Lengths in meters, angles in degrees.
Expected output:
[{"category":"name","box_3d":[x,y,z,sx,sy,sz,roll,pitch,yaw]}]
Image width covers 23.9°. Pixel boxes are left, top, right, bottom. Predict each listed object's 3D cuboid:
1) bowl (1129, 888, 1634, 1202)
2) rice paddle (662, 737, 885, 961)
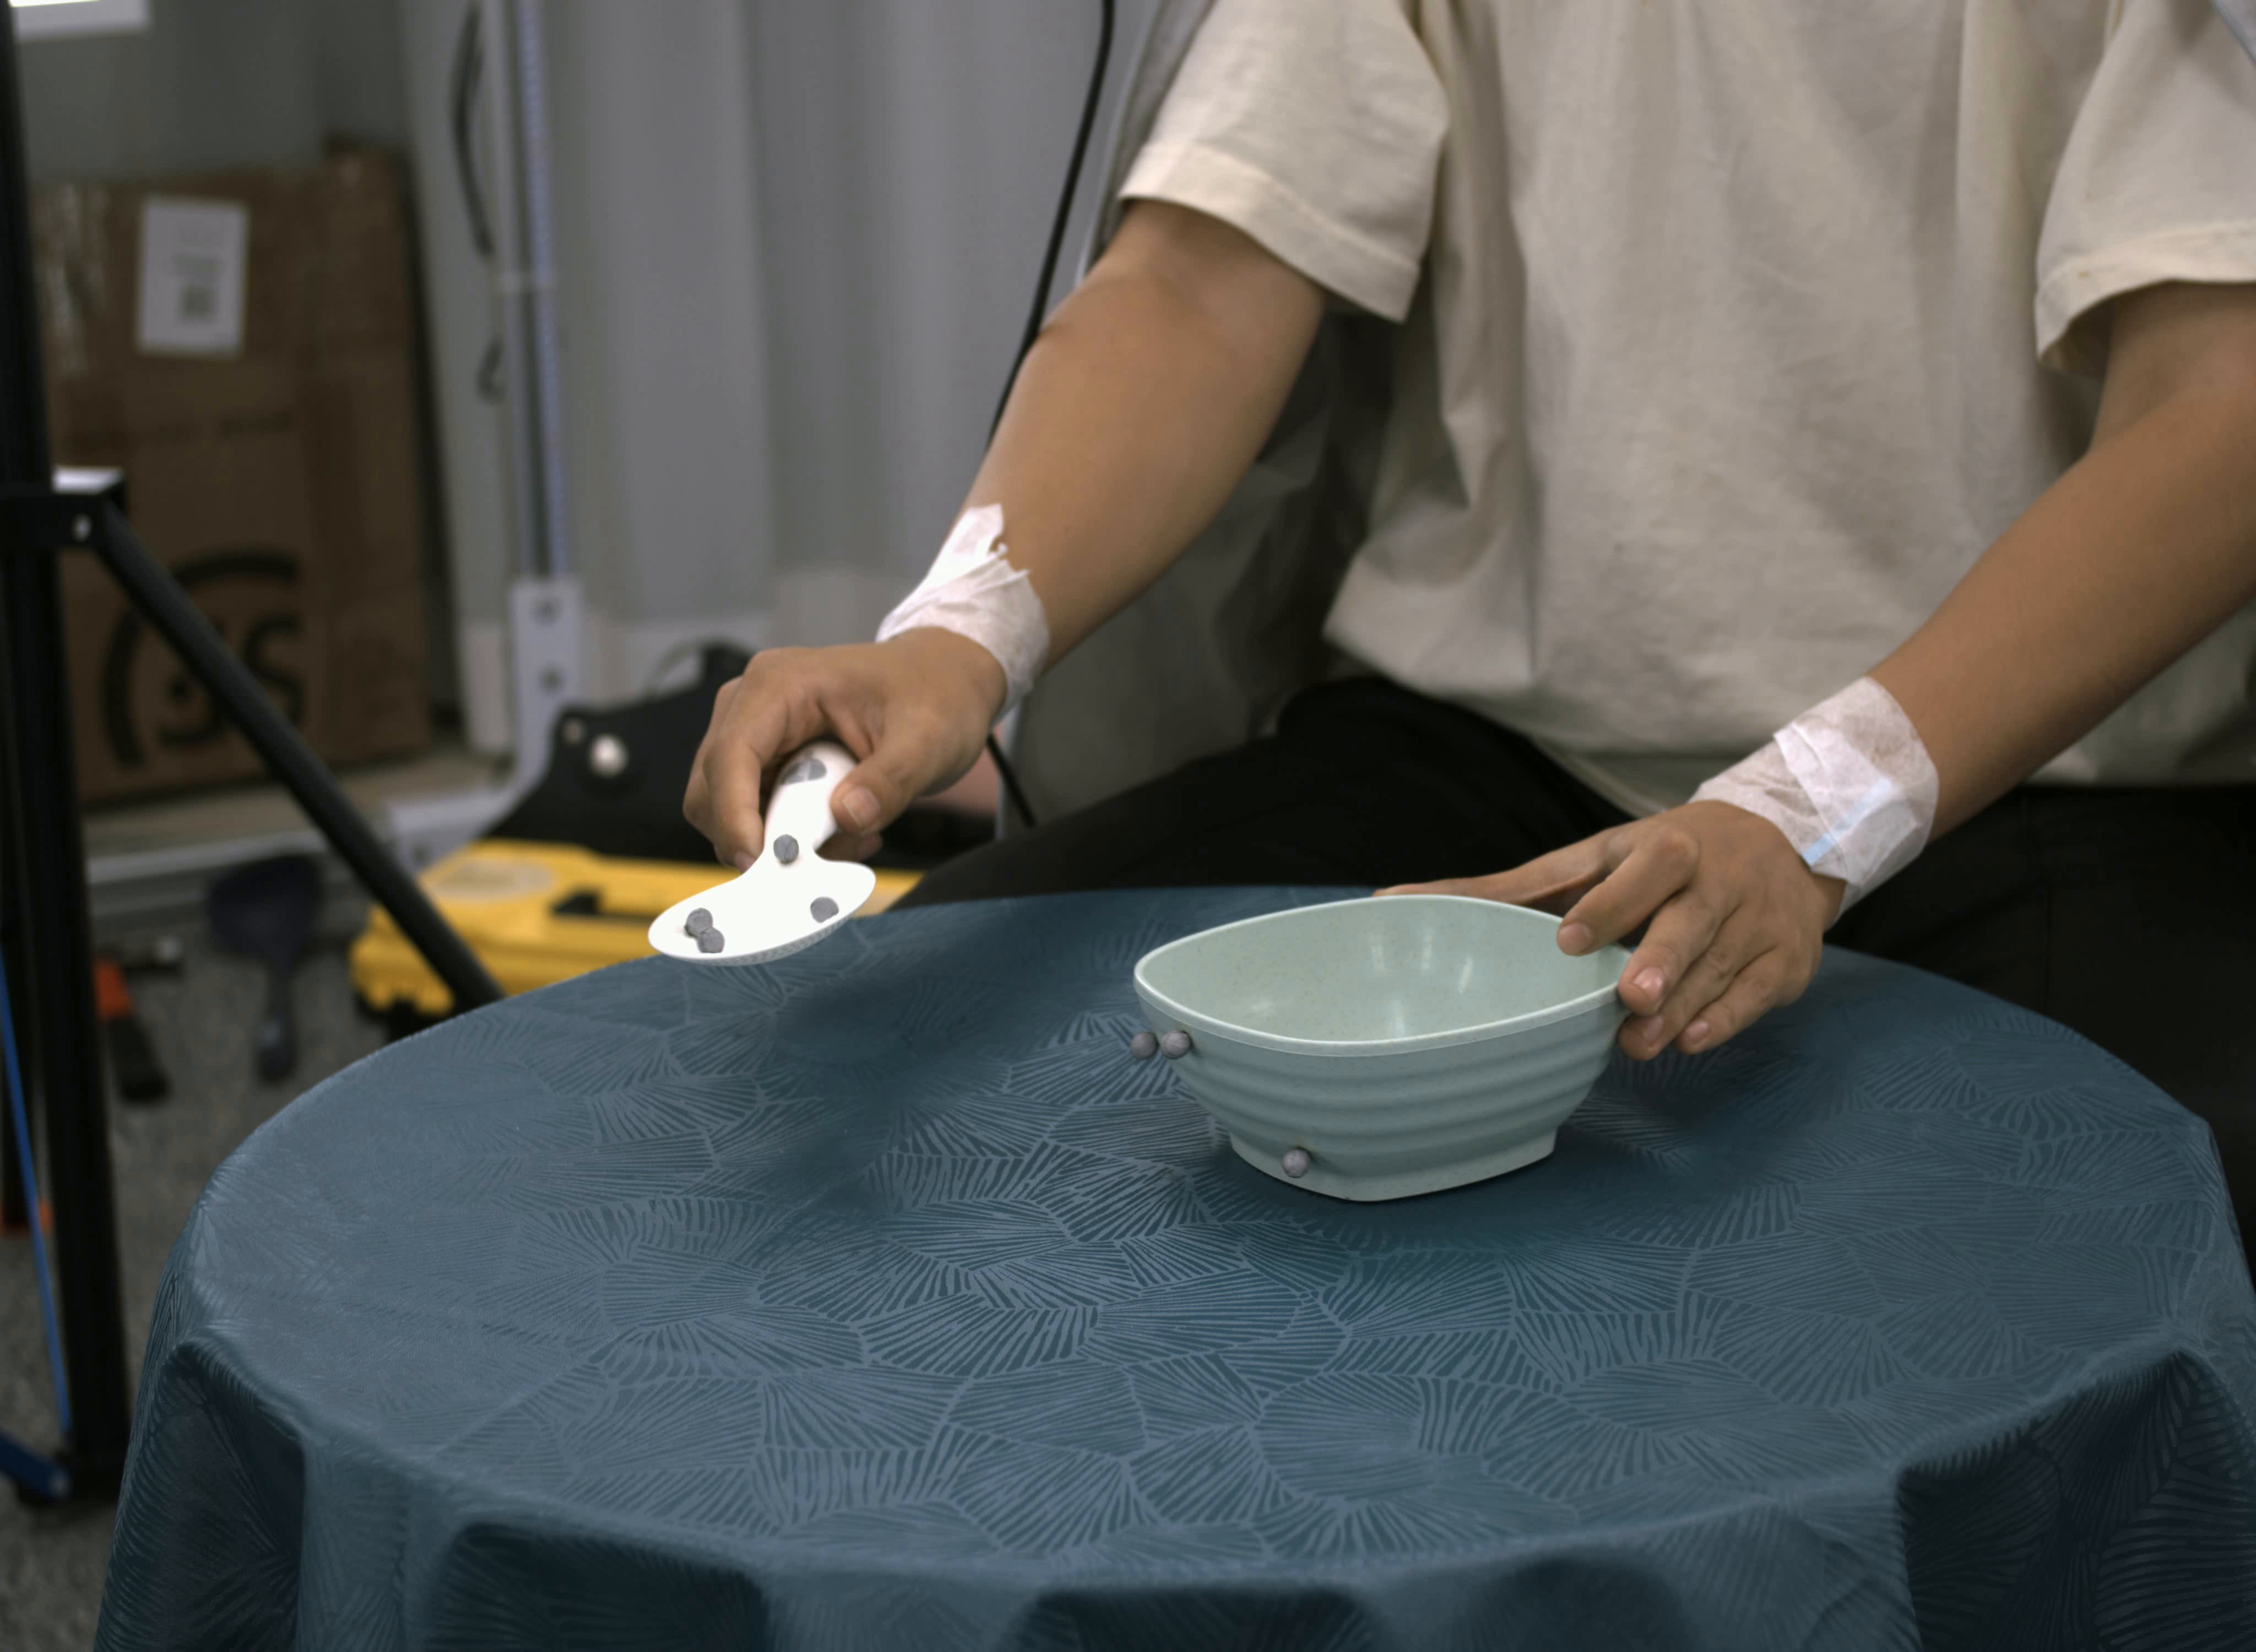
[{"category":"bowl","box_3d":[0.077,0.068,1.573,0.151,0.058,0.152,-7,15,0]},{"category":"rice paddle","box_3d":[-0.103,0.009,1.639,0.069,0.029,0.205,-15,13,6]}]
